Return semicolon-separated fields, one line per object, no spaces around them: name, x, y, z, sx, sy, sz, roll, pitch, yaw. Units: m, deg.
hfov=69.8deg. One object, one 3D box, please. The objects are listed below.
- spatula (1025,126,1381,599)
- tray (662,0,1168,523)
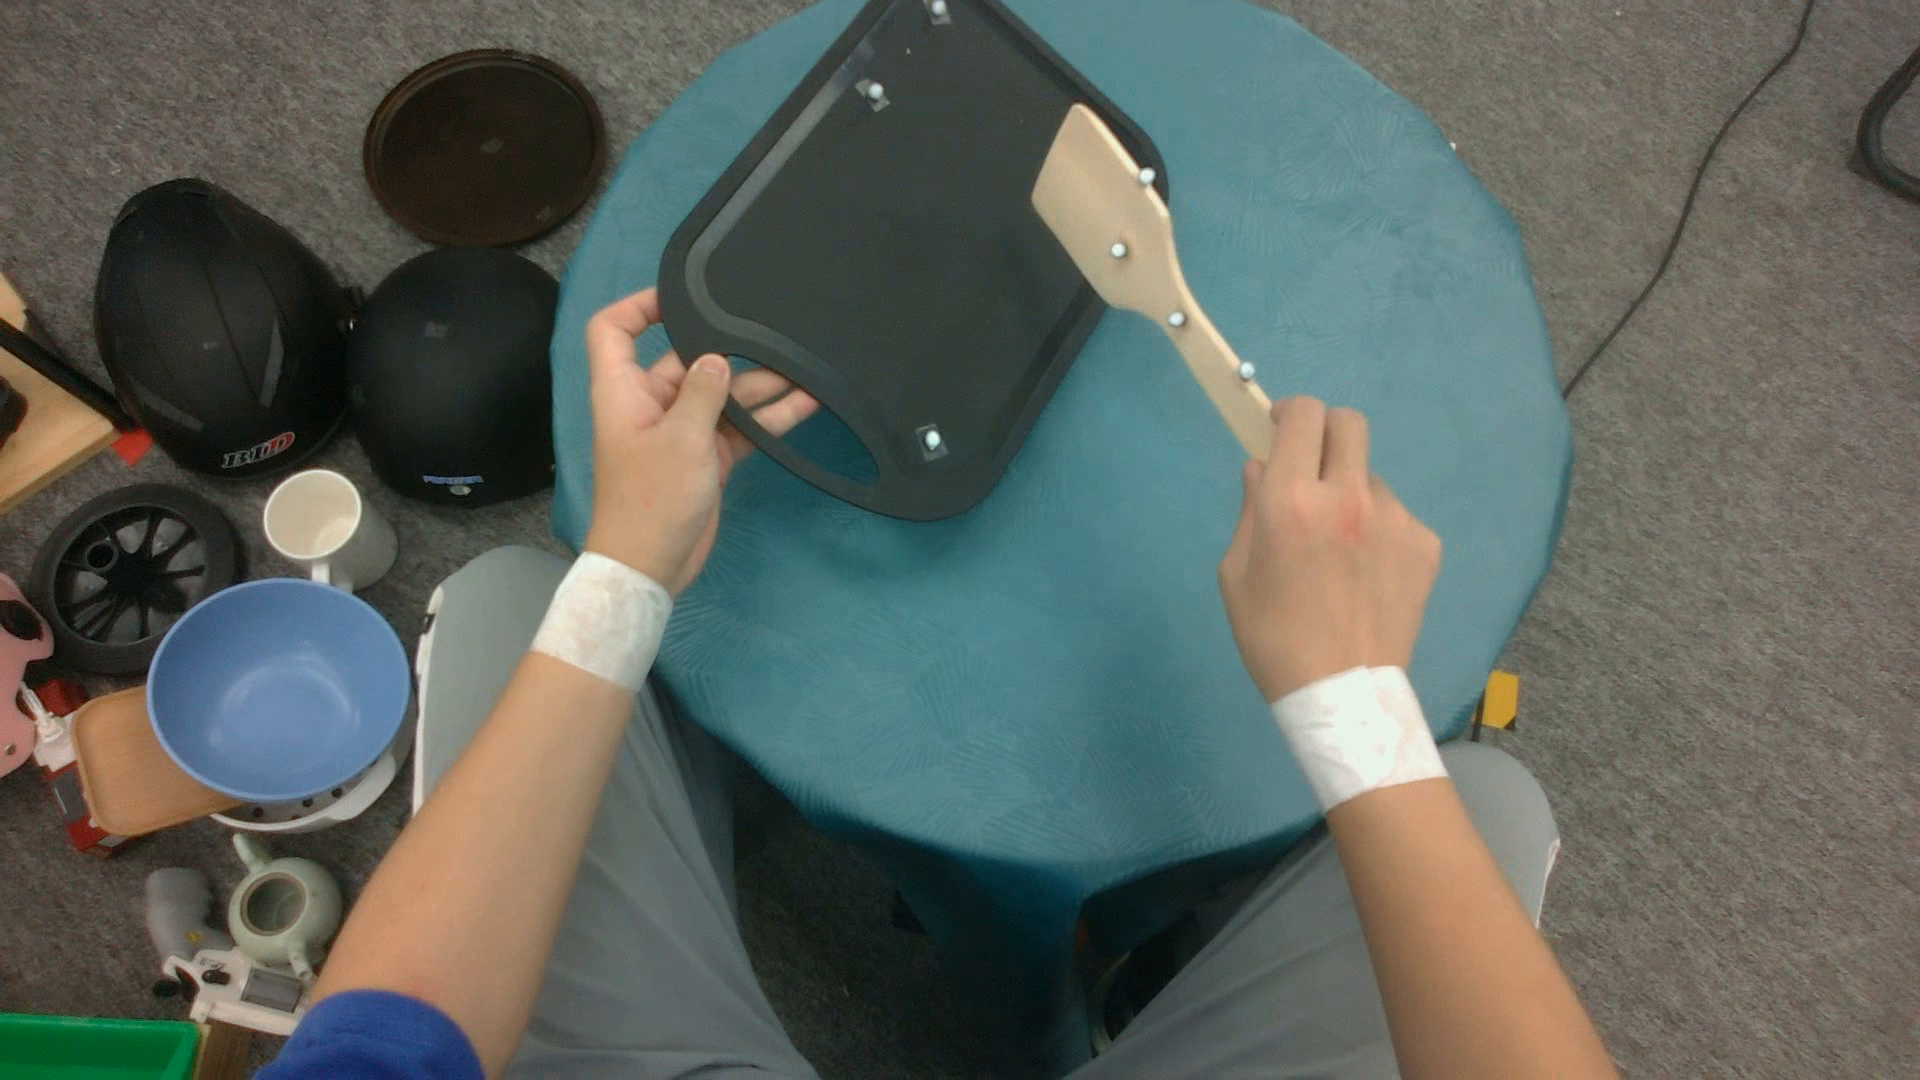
spatula;0.120;-0.091;0.698;0.011;0.072;0.293;-19;64;-30
tray;-0.015;-0.165;0.766;0.211;0.010;0.327;38;64;-12
